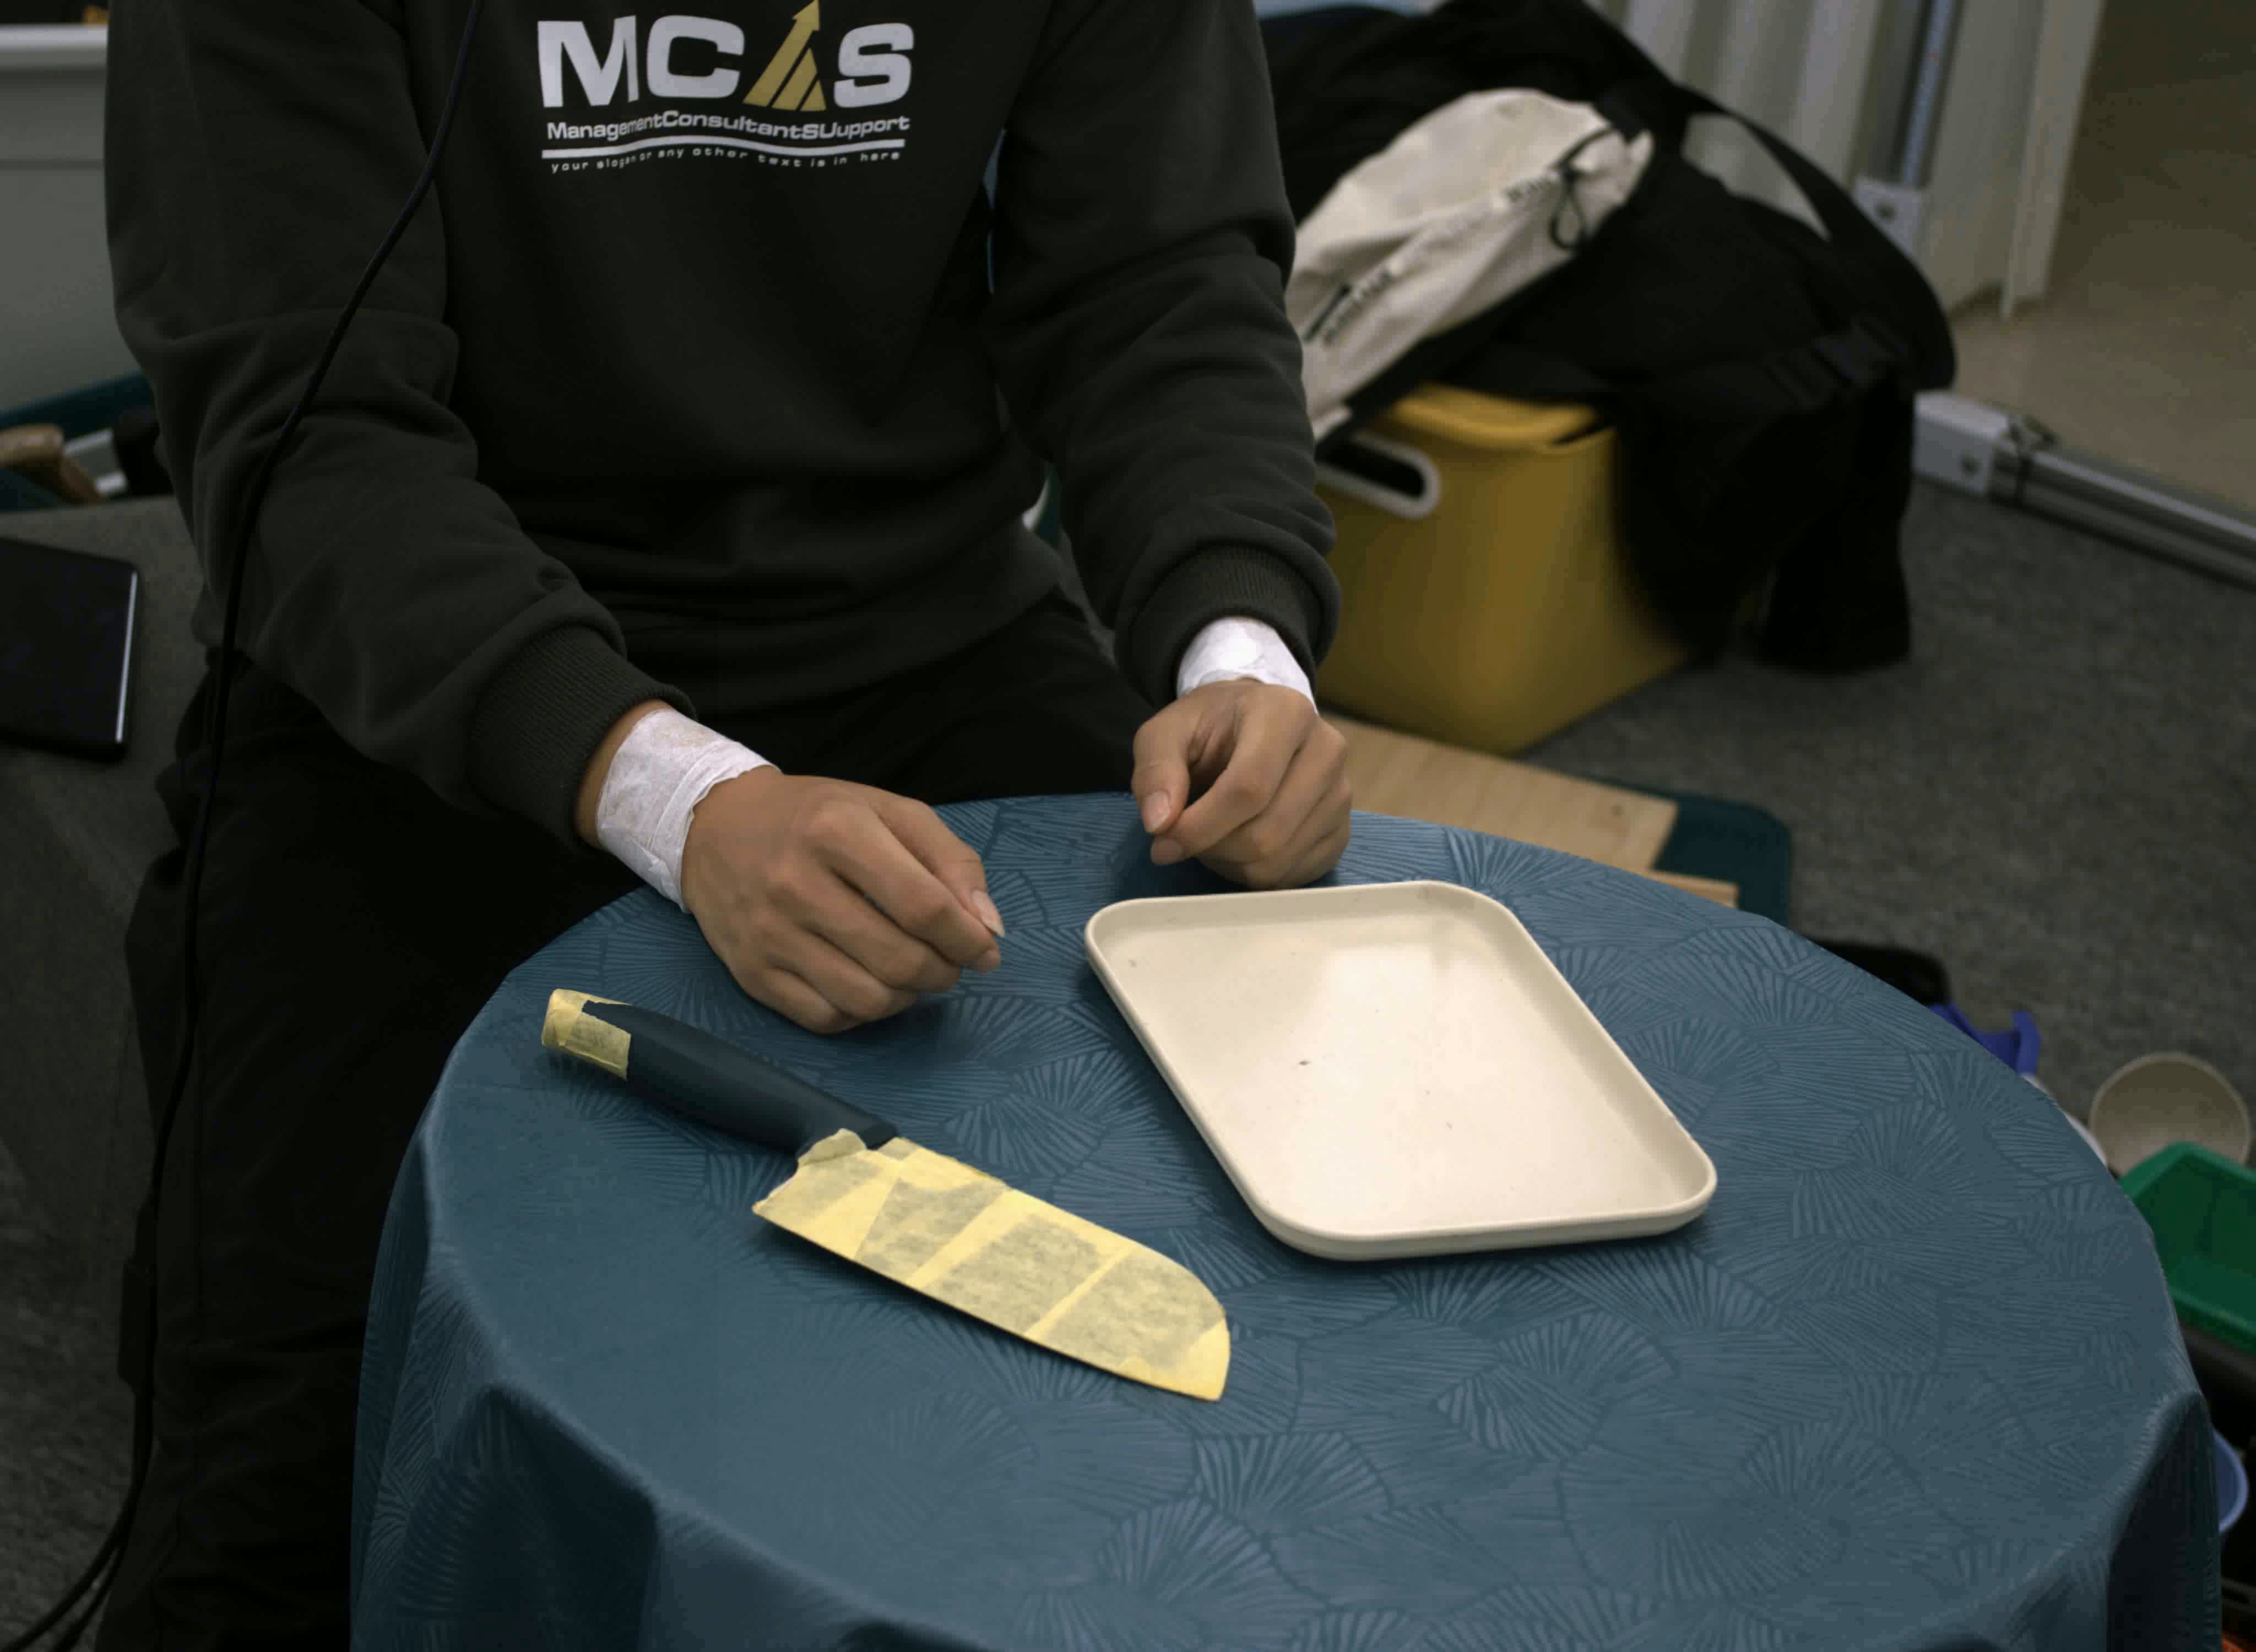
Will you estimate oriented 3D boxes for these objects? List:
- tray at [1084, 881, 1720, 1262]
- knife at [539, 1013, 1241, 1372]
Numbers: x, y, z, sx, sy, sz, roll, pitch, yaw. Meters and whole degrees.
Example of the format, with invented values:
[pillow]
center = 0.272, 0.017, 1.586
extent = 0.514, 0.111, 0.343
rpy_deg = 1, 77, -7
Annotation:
[tray]
center = 0.093, 0.085, 1.883
extent = 0.170, 0.017, 0.242
rpy_deg = -4, 28, -19
[knife]
center = -0.086, 0.123, 1.771
extent = 0.291, 0.027, 0.081
rpy_deg = 22, 29, 26
